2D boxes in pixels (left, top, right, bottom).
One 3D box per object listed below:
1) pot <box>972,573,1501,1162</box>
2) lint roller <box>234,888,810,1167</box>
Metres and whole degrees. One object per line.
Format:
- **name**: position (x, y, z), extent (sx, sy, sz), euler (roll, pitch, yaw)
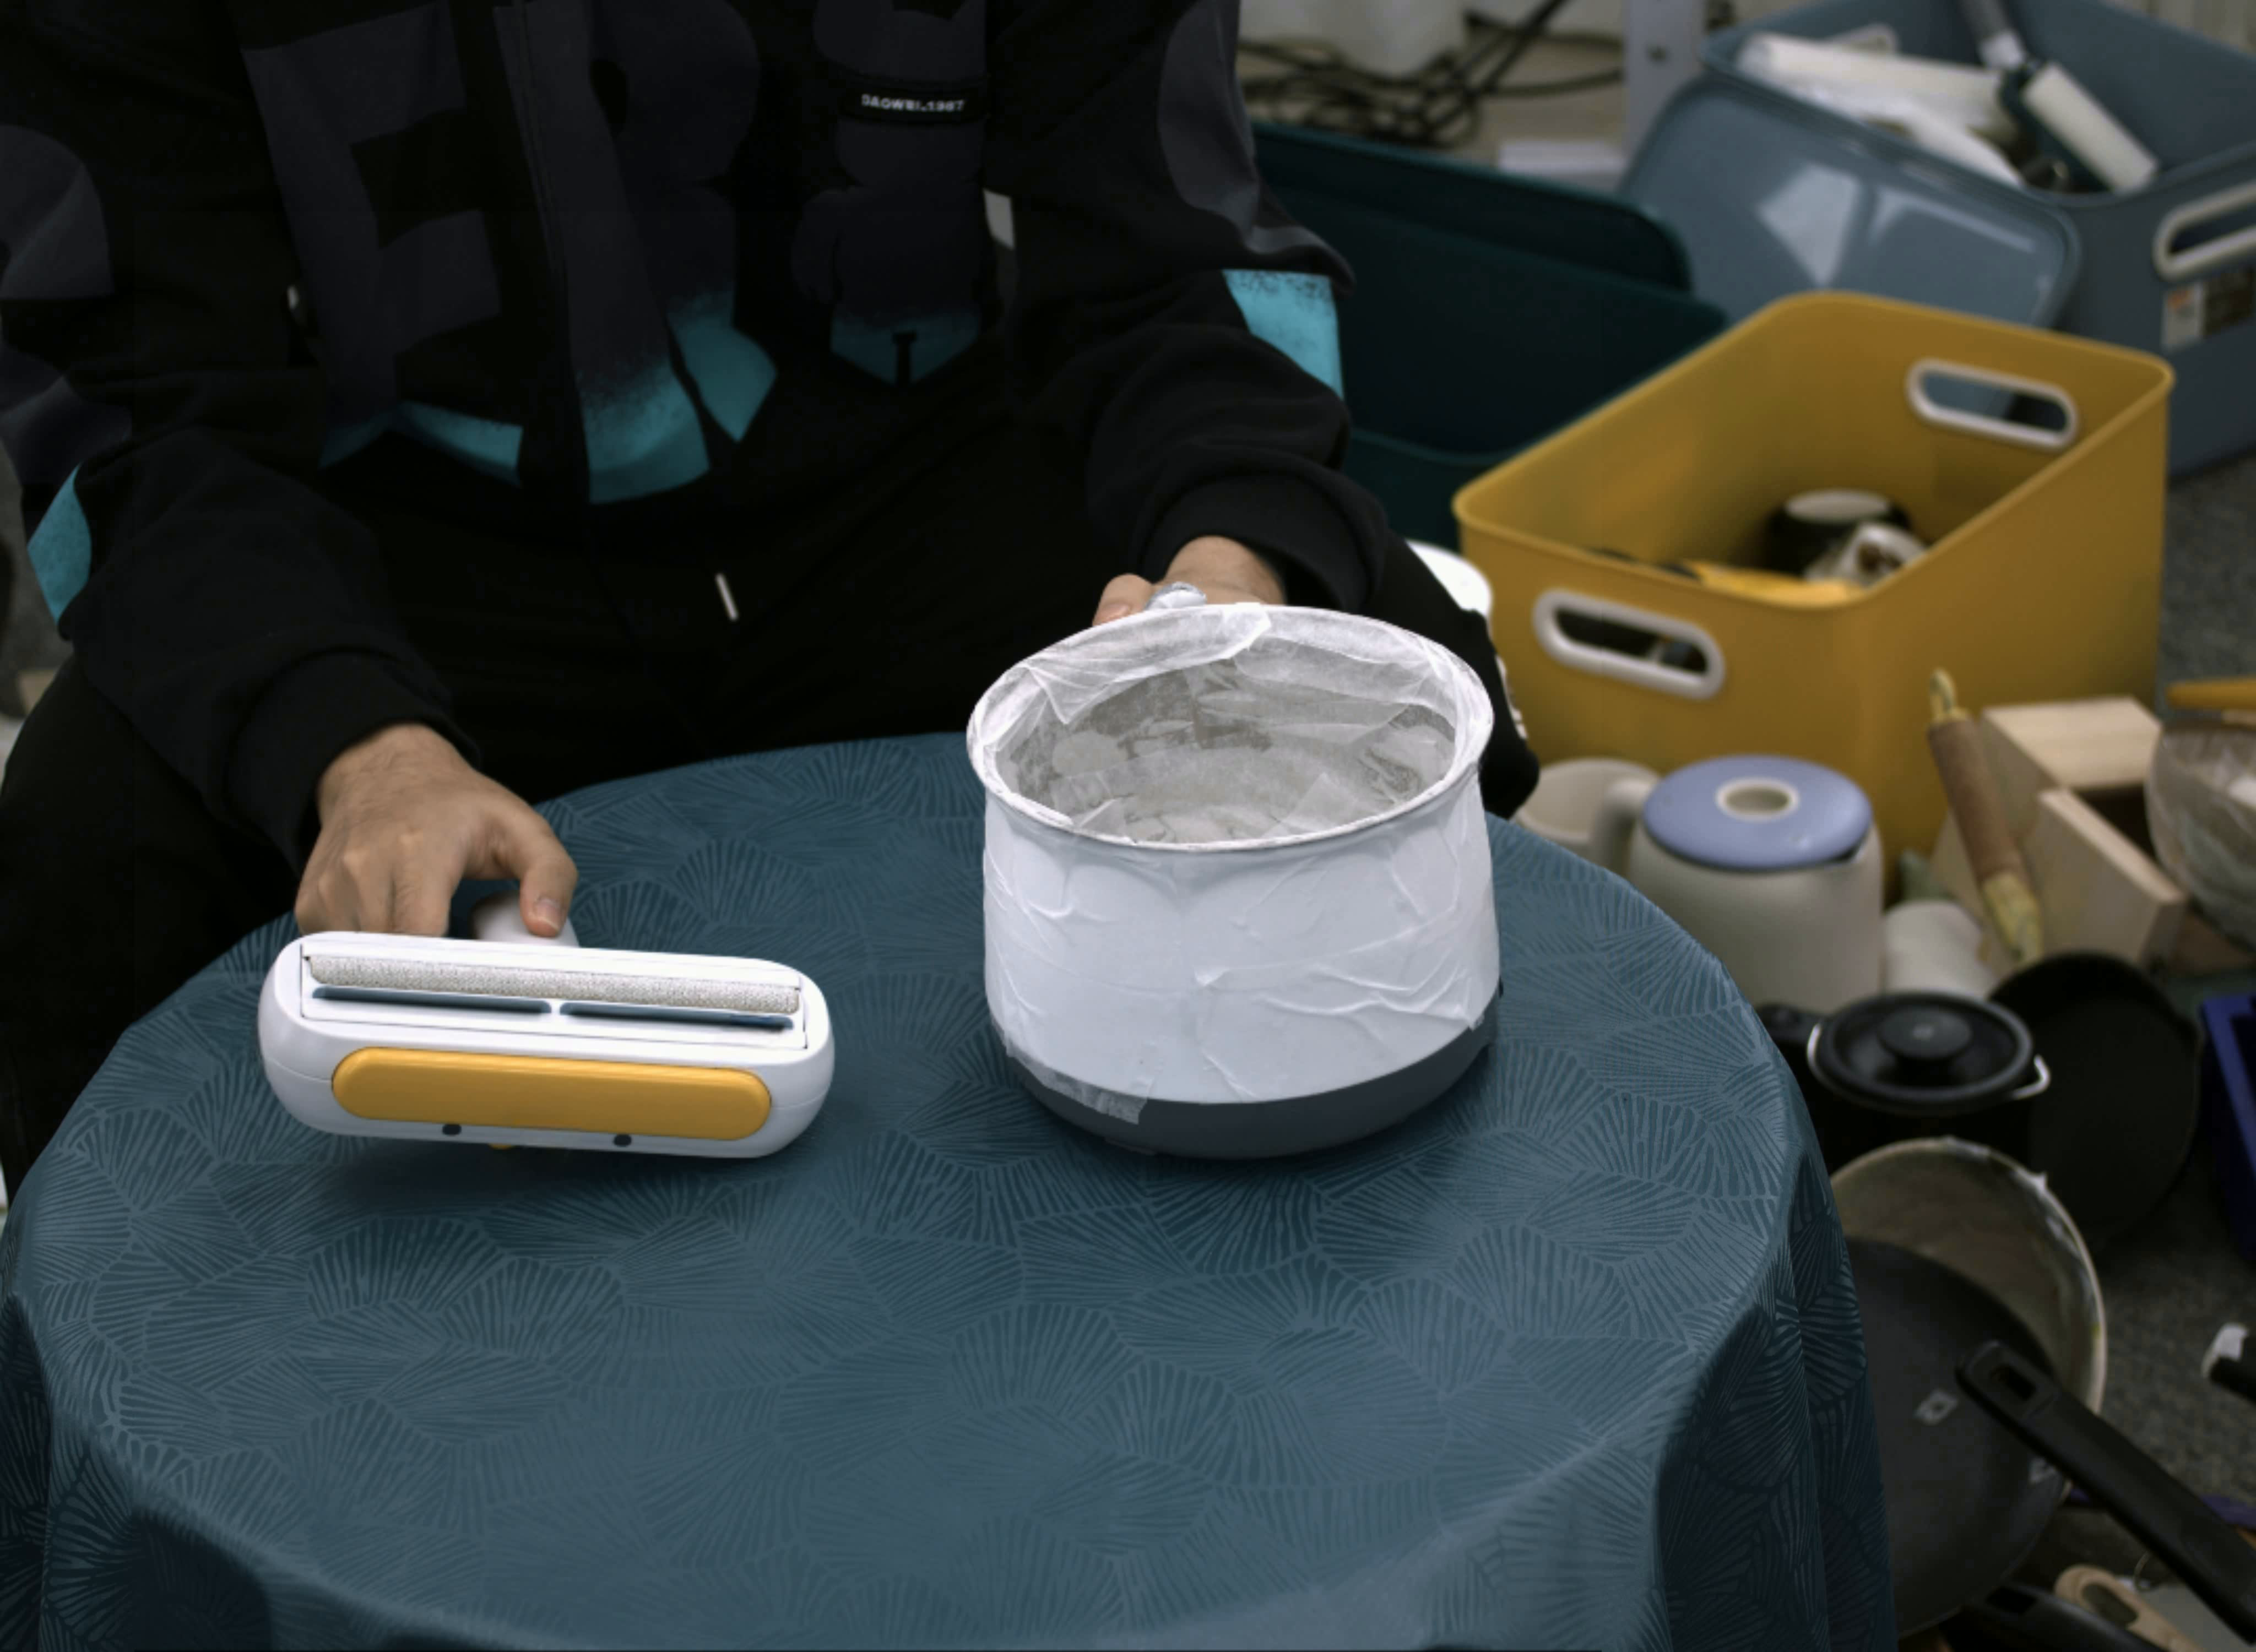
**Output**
- **pot**: position (0.032, 0.007, 1.927), extent (0.178, 0.135, 0.237), euler (-6, 29, -9)
- **lint roller**: position (-0.208, 0.055, 1.936), extent (0.192, 0.073, 0.195), euler (2, 25, -7)
